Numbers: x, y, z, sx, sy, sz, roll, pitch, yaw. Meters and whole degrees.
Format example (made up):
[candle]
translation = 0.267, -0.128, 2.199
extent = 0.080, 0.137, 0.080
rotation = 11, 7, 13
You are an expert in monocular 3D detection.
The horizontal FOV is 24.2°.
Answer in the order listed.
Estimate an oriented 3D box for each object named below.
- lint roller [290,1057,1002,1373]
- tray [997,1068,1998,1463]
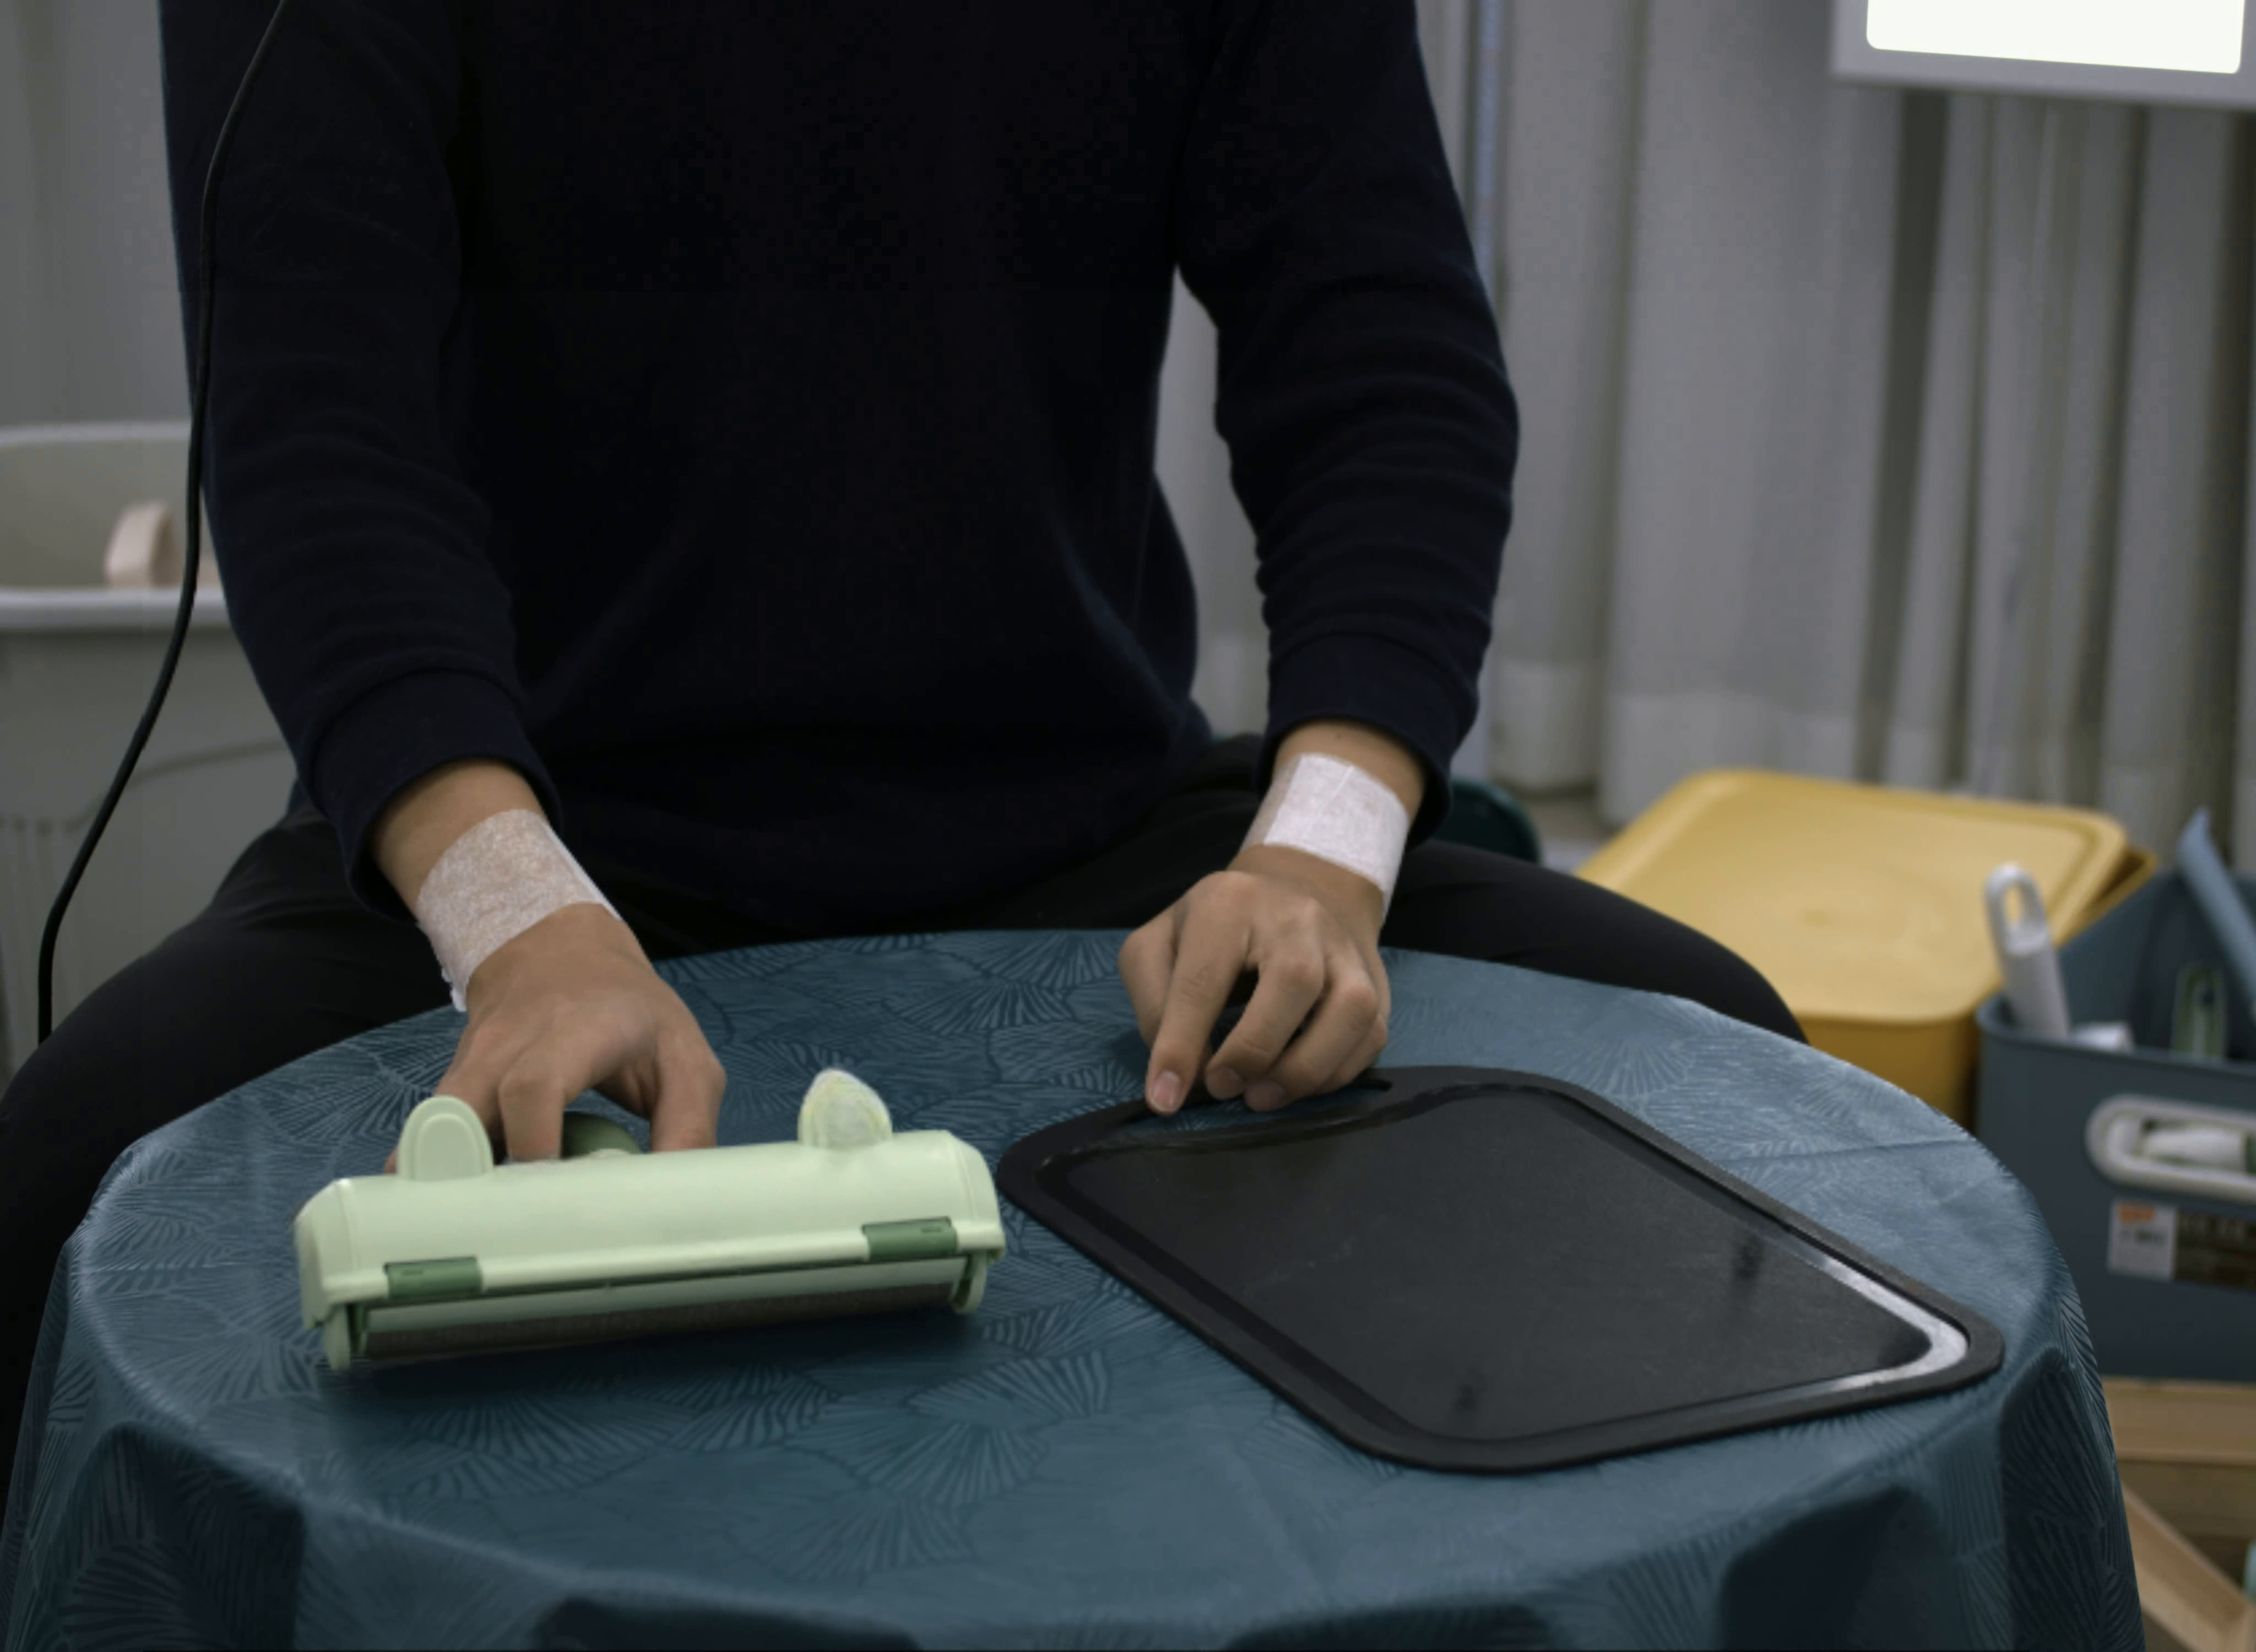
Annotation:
[lint roller]
translation = -0.152, 0.091, 1.532
extent = 0.199, 0.083, 0.181
rotation = -4, 23, -18
[tray]
translation = 0.099, 0.123, 1.574
extent = 0.212, 0.010, 0.321
rotation = -7, 17, -25
